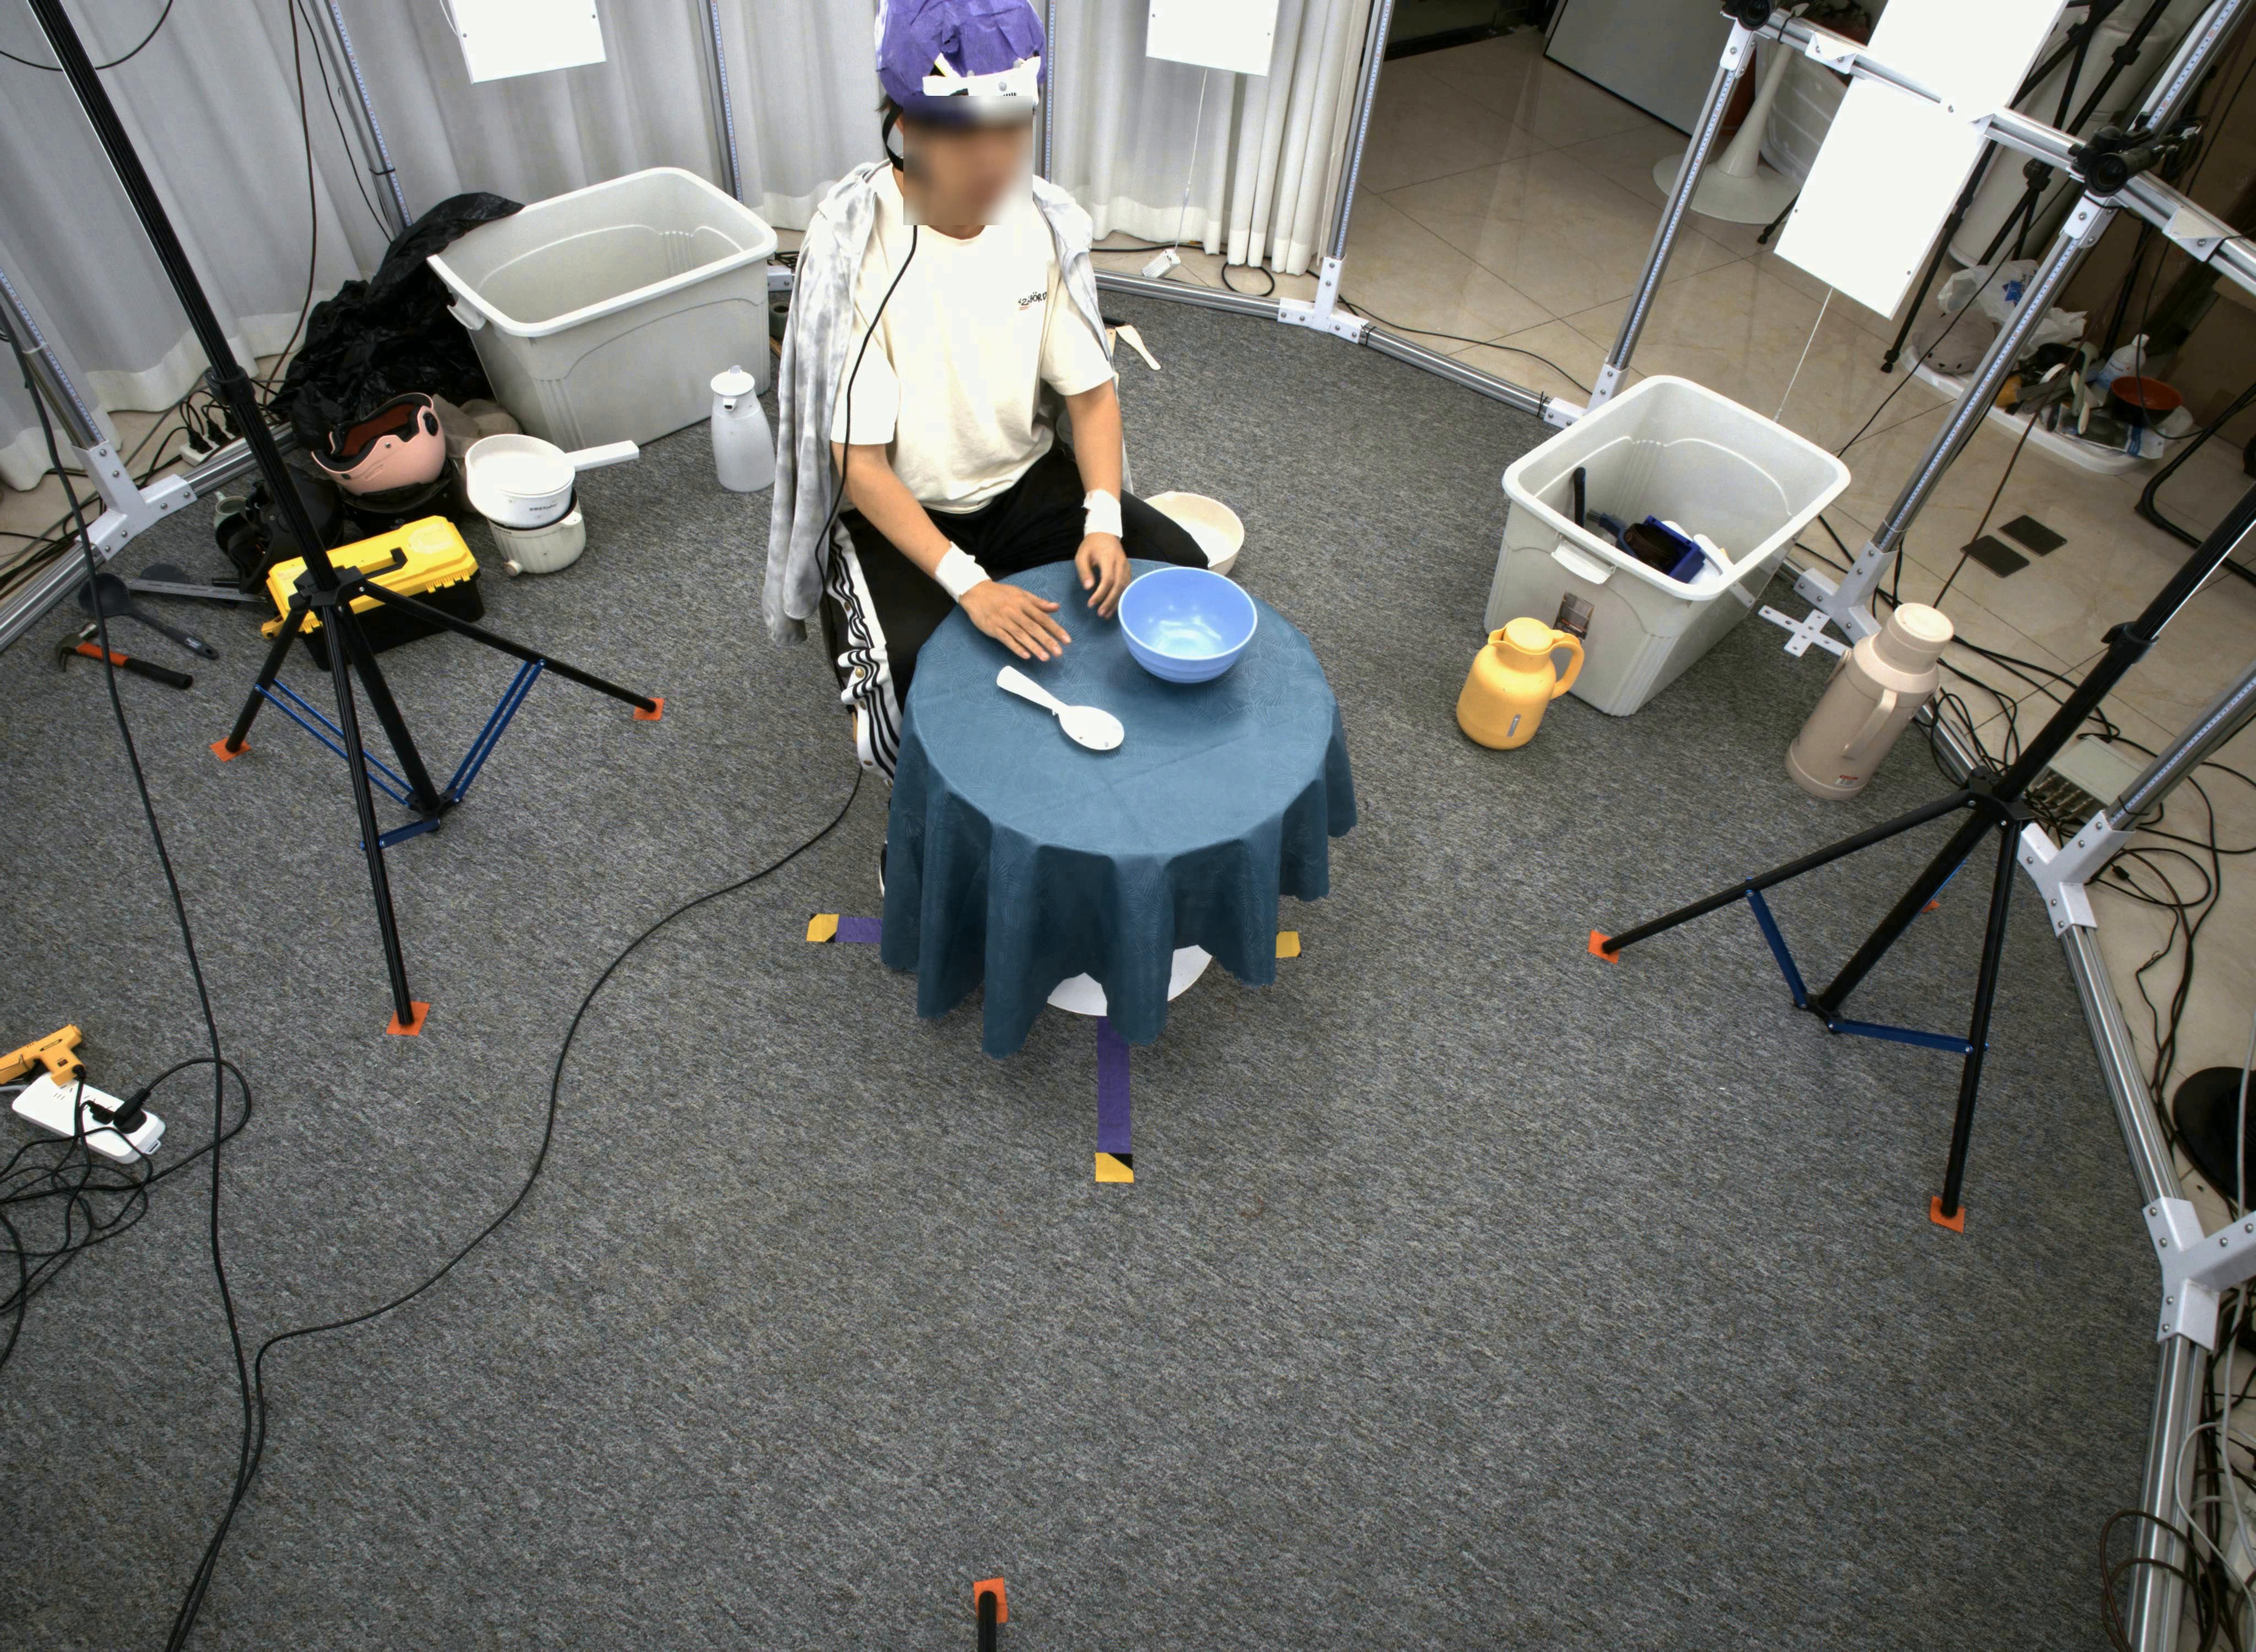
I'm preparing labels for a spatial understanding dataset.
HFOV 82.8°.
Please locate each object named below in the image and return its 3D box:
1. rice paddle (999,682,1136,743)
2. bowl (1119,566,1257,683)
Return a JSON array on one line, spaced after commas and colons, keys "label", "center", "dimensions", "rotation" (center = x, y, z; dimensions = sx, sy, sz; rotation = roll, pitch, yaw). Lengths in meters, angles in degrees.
[{"label": "rice paddle", "center": [-0.083, -0.156, 1.778], "dimensions": [0.207, 0.029, 0.070], "rotation": [21, 38, 18]}, {"label": "bowl", "center": [0.082, -0.274, 1.842], "dimensions": [0.196, 0.093, 0.201], "rotation": [2, 50, -2]}]
